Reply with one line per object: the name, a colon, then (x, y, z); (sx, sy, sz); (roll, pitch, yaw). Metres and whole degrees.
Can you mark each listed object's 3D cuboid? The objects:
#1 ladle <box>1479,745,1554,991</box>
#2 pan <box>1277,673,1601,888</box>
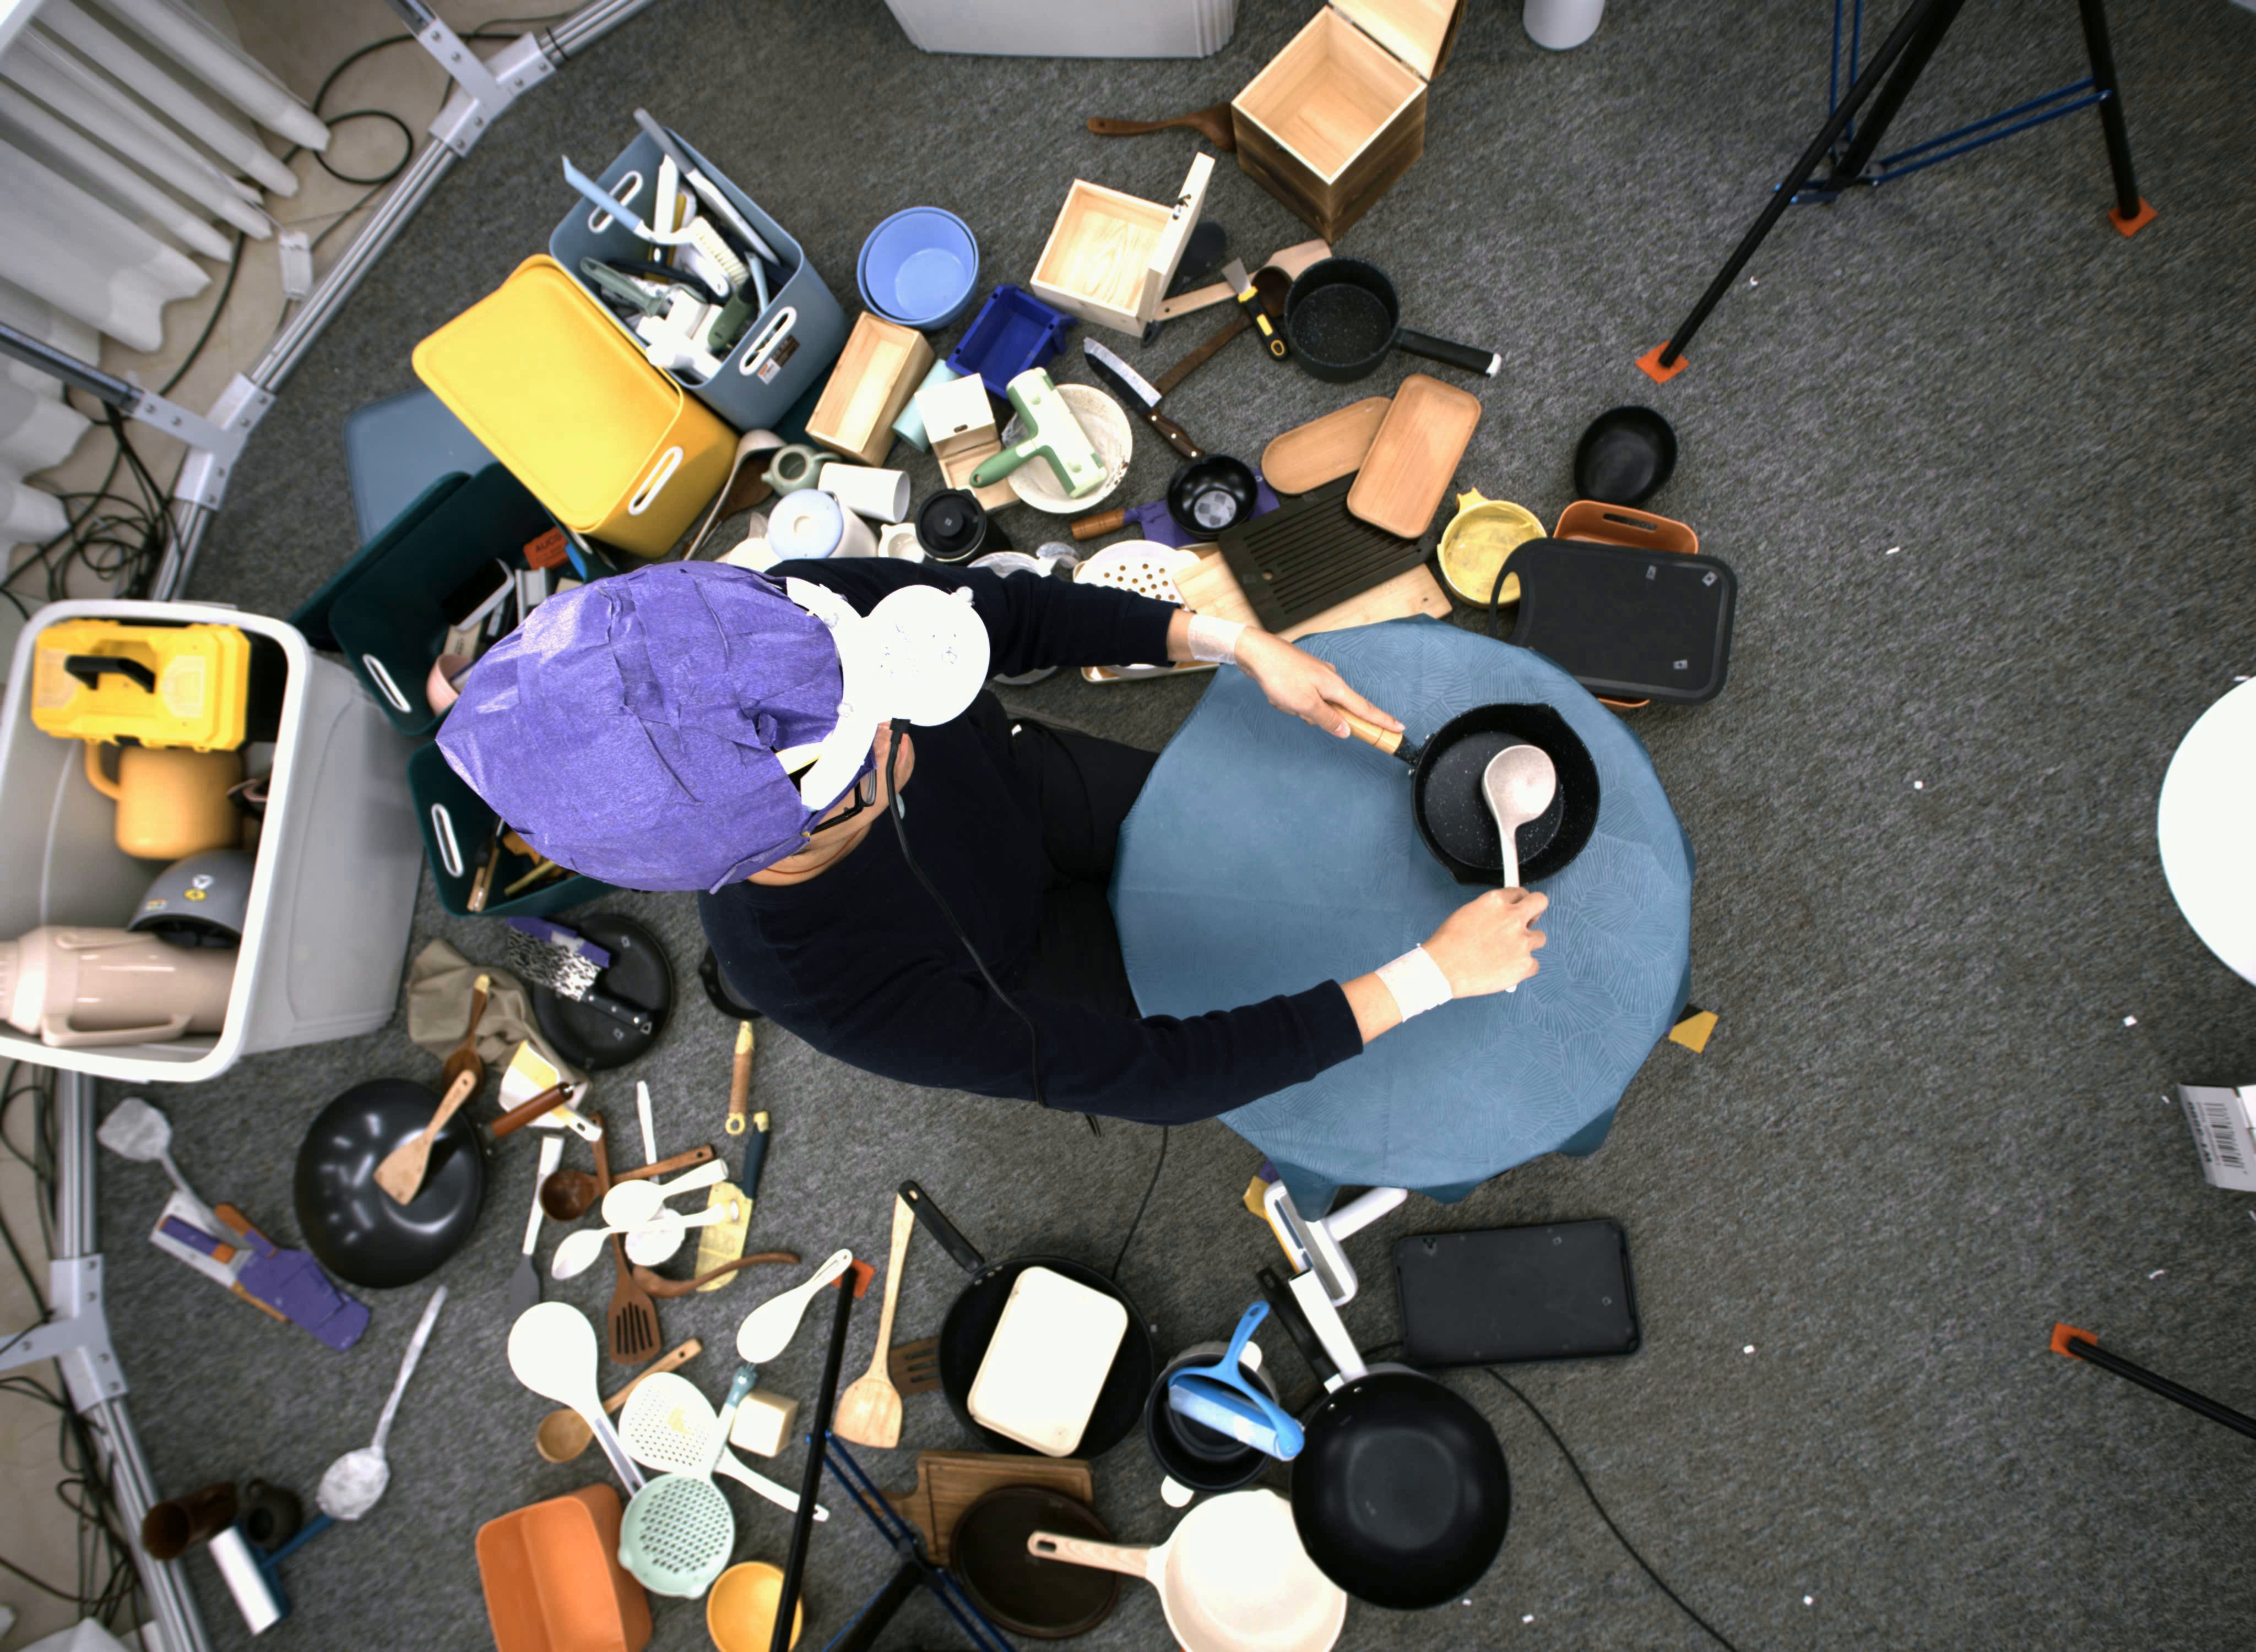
ladle: (0.383, 0.034, 1.334); (0.090, 0.267, 0.071); (36, 134, -27)
pan: (0.305, -0.065, 1.394); (0.343, 0.108, 0.208); (25, 93, 5)
